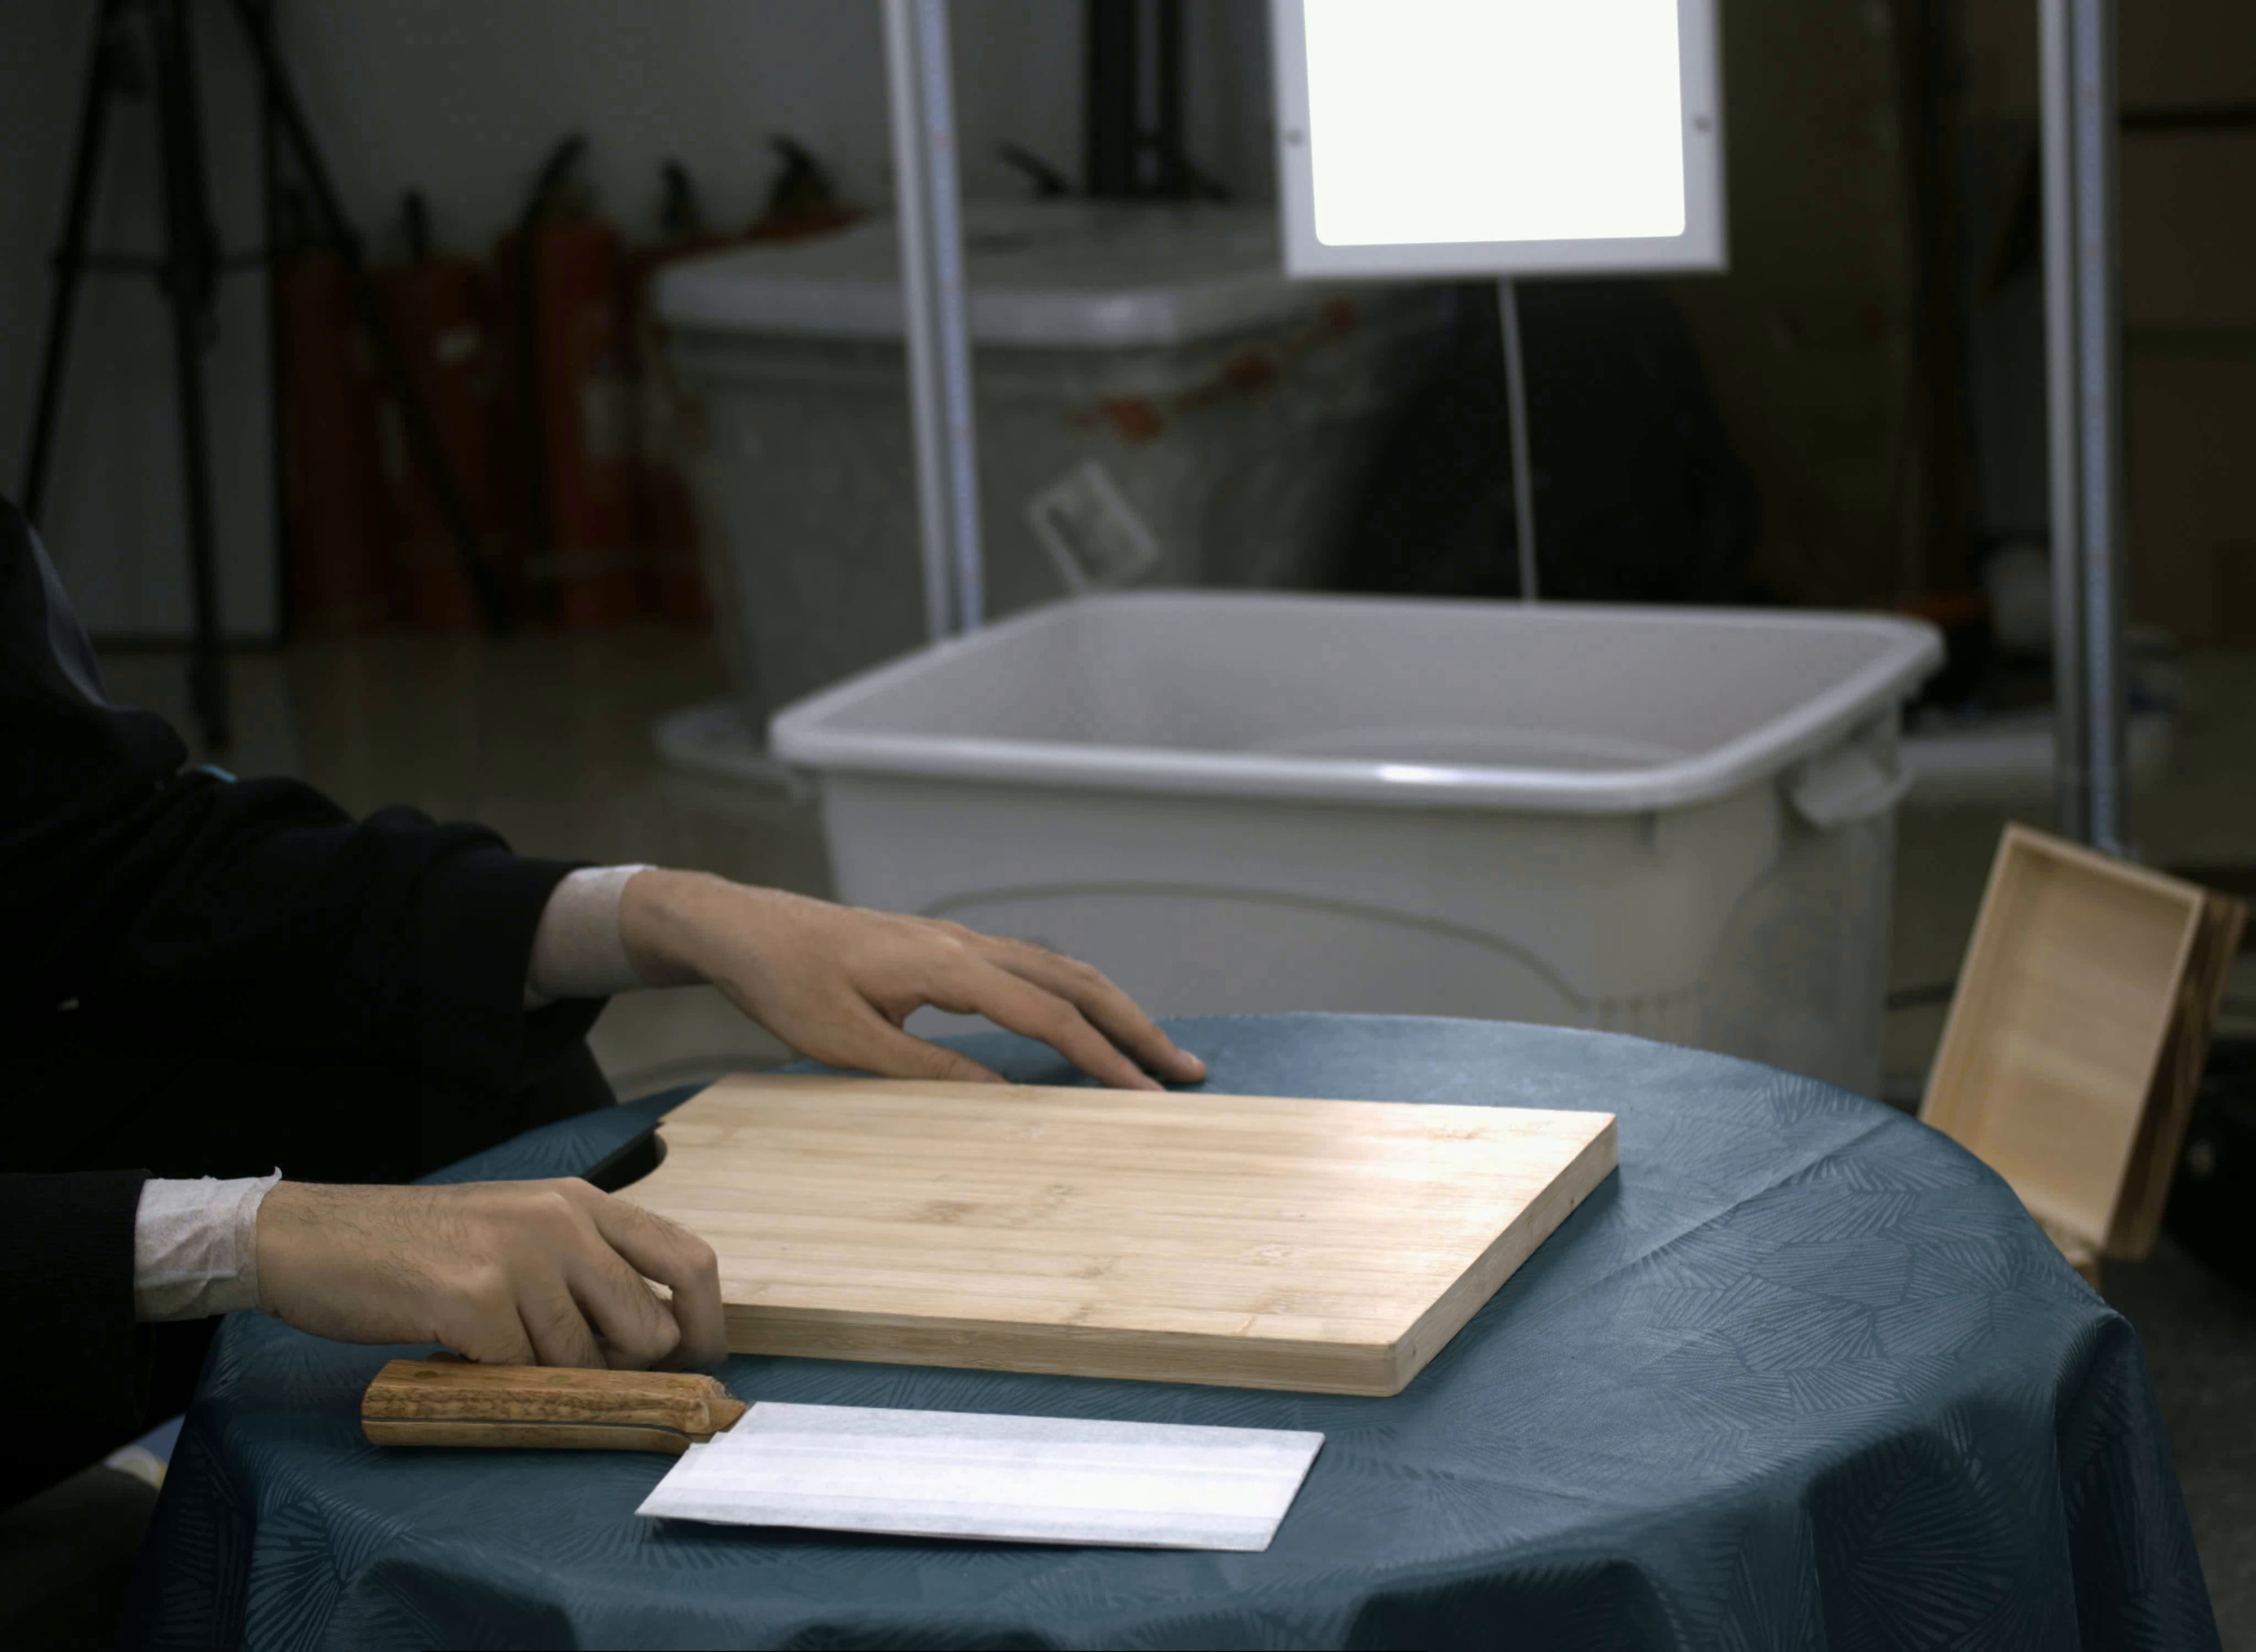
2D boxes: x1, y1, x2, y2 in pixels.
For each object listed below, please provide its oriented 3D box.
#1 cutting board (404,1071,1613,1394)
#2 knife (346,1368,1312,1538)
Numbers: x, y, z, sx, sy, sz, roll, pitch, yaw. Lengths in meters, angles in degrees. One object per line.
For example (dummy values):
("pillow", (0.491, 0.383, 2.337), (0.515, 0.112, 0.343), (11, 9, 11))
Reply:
("cutting board", (-0.036, 0.132, 1.851), (0.354, 0.023, 0.246), (1, 15, 23))
("knife", (-0.098, 0.190, 1.645), (0.309, 0.021, 0.091), (1, 17, 16))
